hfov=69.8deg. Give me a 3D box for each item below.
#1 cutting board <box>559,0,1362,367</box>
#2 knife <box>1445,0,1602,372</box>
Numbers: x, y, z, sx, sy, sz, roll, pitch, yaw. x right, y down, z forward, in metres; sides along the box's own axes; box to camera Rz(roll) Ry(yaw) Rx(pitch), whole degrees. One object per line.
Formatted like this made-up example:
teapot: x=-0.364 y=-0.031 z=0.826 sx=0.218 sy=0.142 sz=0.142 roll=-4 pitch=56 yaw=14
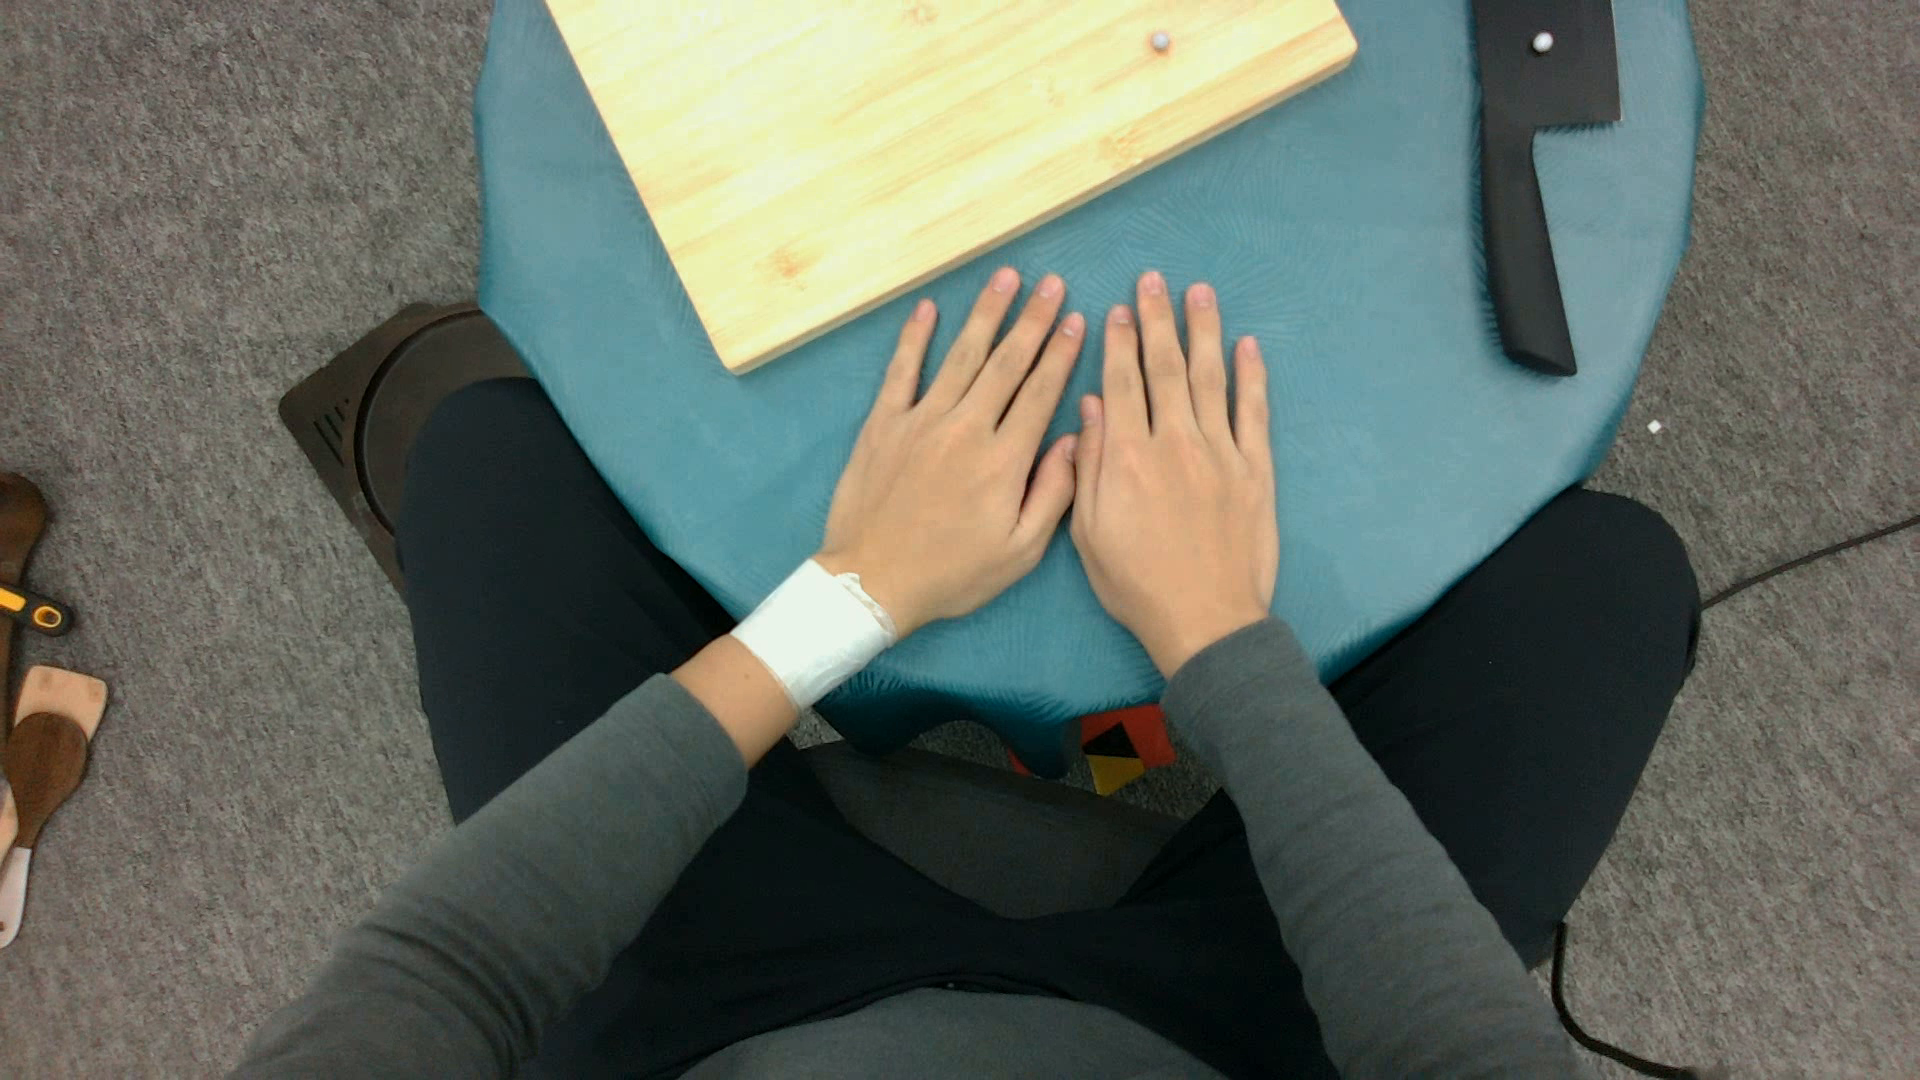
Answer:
cutting board: x=-0.014 y=-0.267 z=0.684 sx=0.348 sy=0.023 sz=0.251 roll=-27 pitch=85 yaw=0
knife: x=0.272 y=-0.230 z=0.668 sx=0.081 sy=0.021 sz=0.302 roll=1 pitch=83 yaw=2
